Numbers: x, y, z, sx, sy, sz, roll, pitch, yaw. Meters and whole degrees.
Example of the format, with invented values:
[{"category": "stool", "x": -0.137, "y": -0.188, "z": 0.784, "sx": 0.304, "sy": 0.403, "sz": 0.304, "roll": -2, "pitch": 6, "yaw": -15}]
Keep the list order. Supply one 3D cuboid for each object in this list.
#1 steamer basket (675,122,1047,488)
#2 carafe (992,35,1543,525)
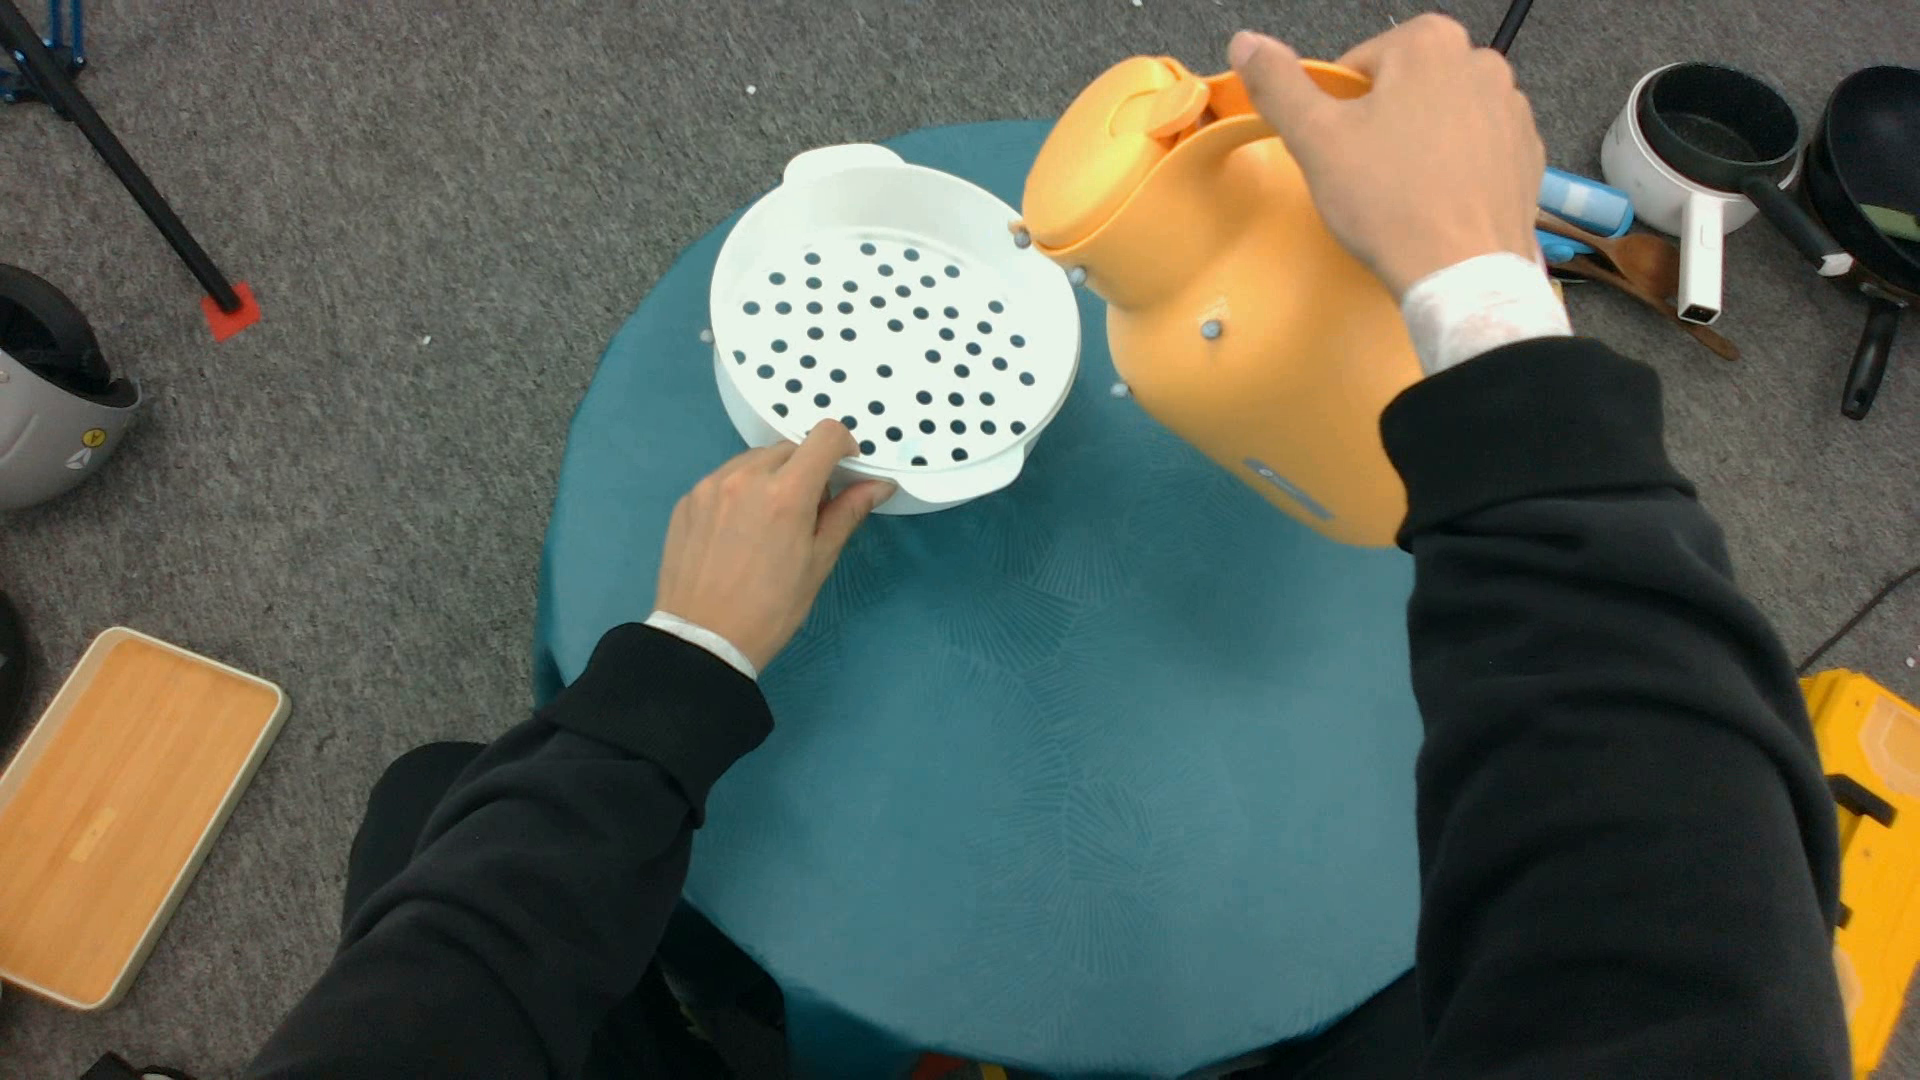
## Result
[{"category": "steamer basket", "x": -0.056, "y": -0.124, "z": 0.764, "sx": 0.202, "sy": 0.069, "sz": 0.231, "roll": -15, "pitch": 68, "yaw": -20}, {"category": "carafe", "x": 0.152, "y": -0.123, "z": 0.628, "sx": 0.260, "sy": 0.202, "sz": 0.164, "roll": 29, "pitch": 73, "yaw": -31}]
